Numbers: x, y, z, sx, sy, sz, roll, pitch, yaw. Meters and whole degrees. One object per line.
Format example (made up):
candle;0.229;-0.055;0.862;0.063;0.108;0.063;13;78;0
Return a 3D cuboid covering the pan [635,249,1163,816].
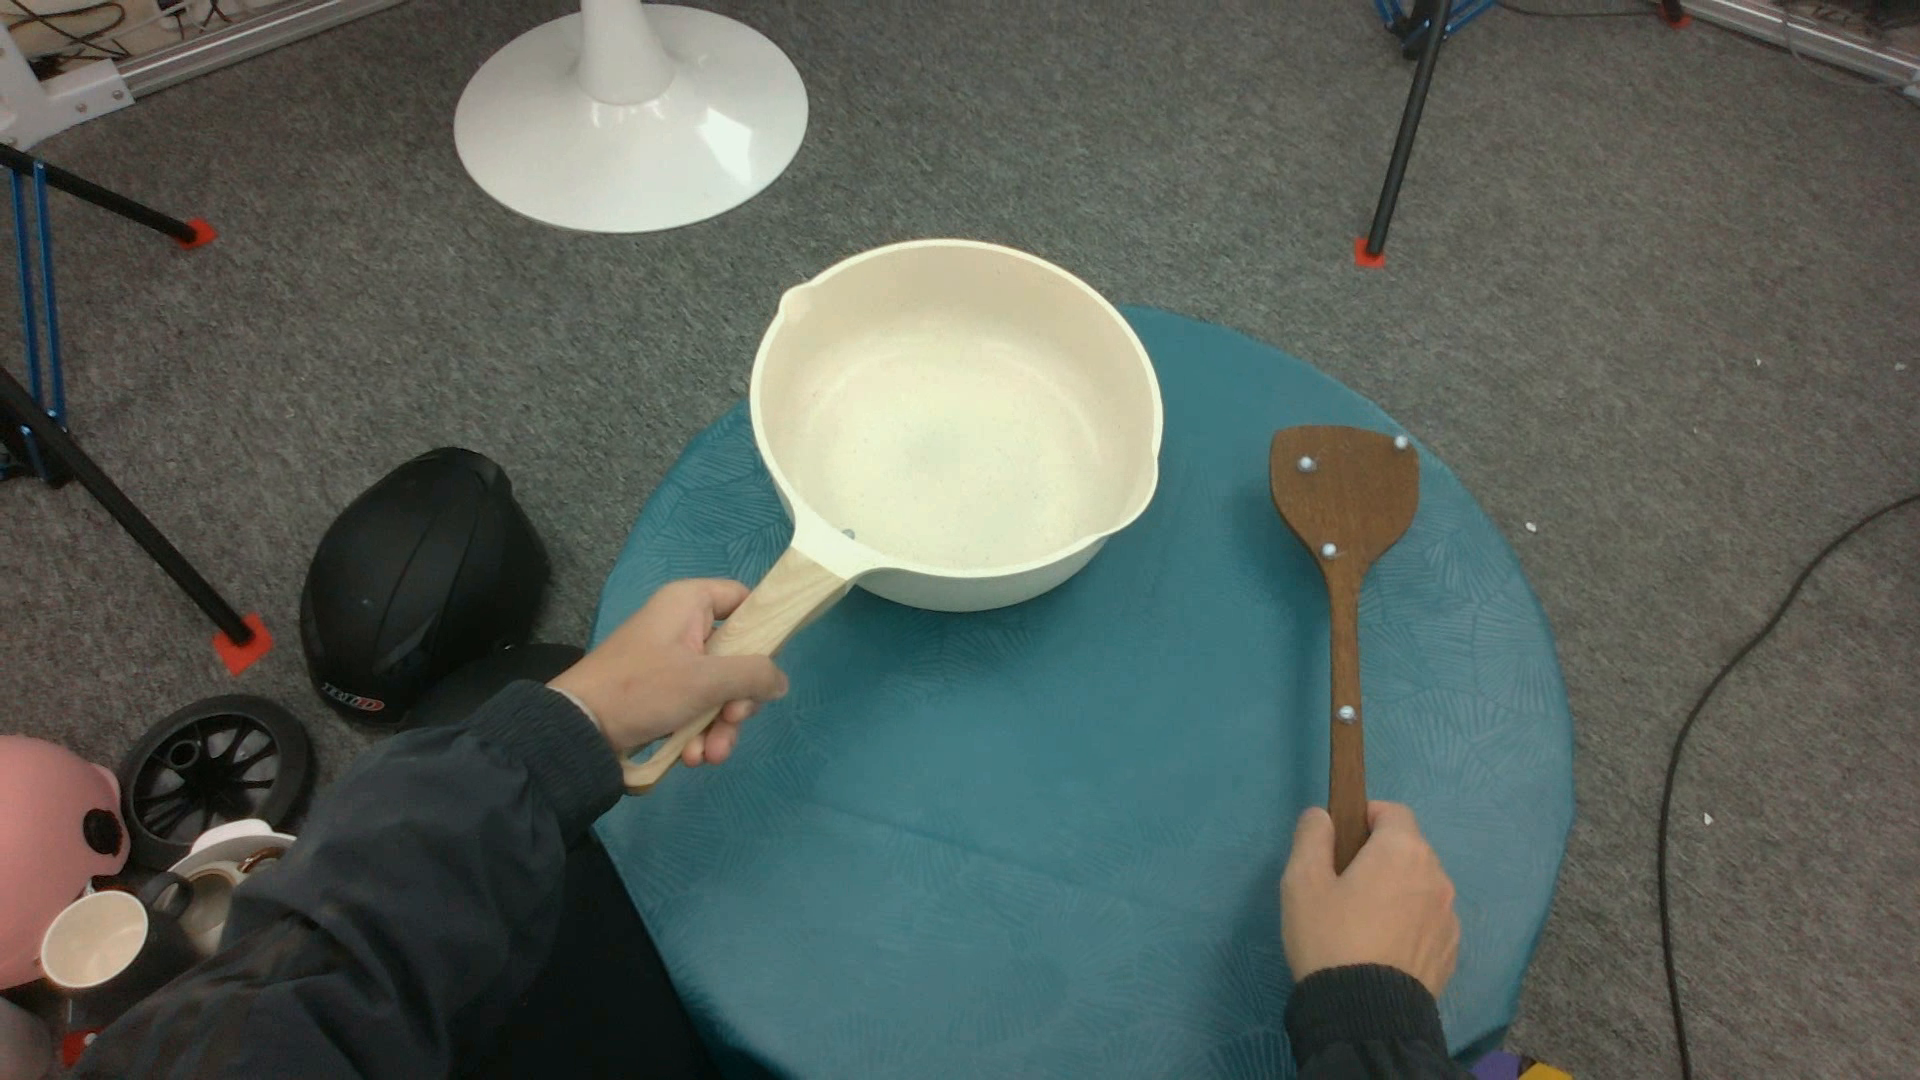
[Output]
pan;-0.049;-0.002;0.830;0.263;0.101;0.437;30;61;12

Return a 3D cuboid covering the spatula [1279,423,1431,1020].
spatula;0.235;0.081;0.799;0.096;0.016;0.388;5;55;6
